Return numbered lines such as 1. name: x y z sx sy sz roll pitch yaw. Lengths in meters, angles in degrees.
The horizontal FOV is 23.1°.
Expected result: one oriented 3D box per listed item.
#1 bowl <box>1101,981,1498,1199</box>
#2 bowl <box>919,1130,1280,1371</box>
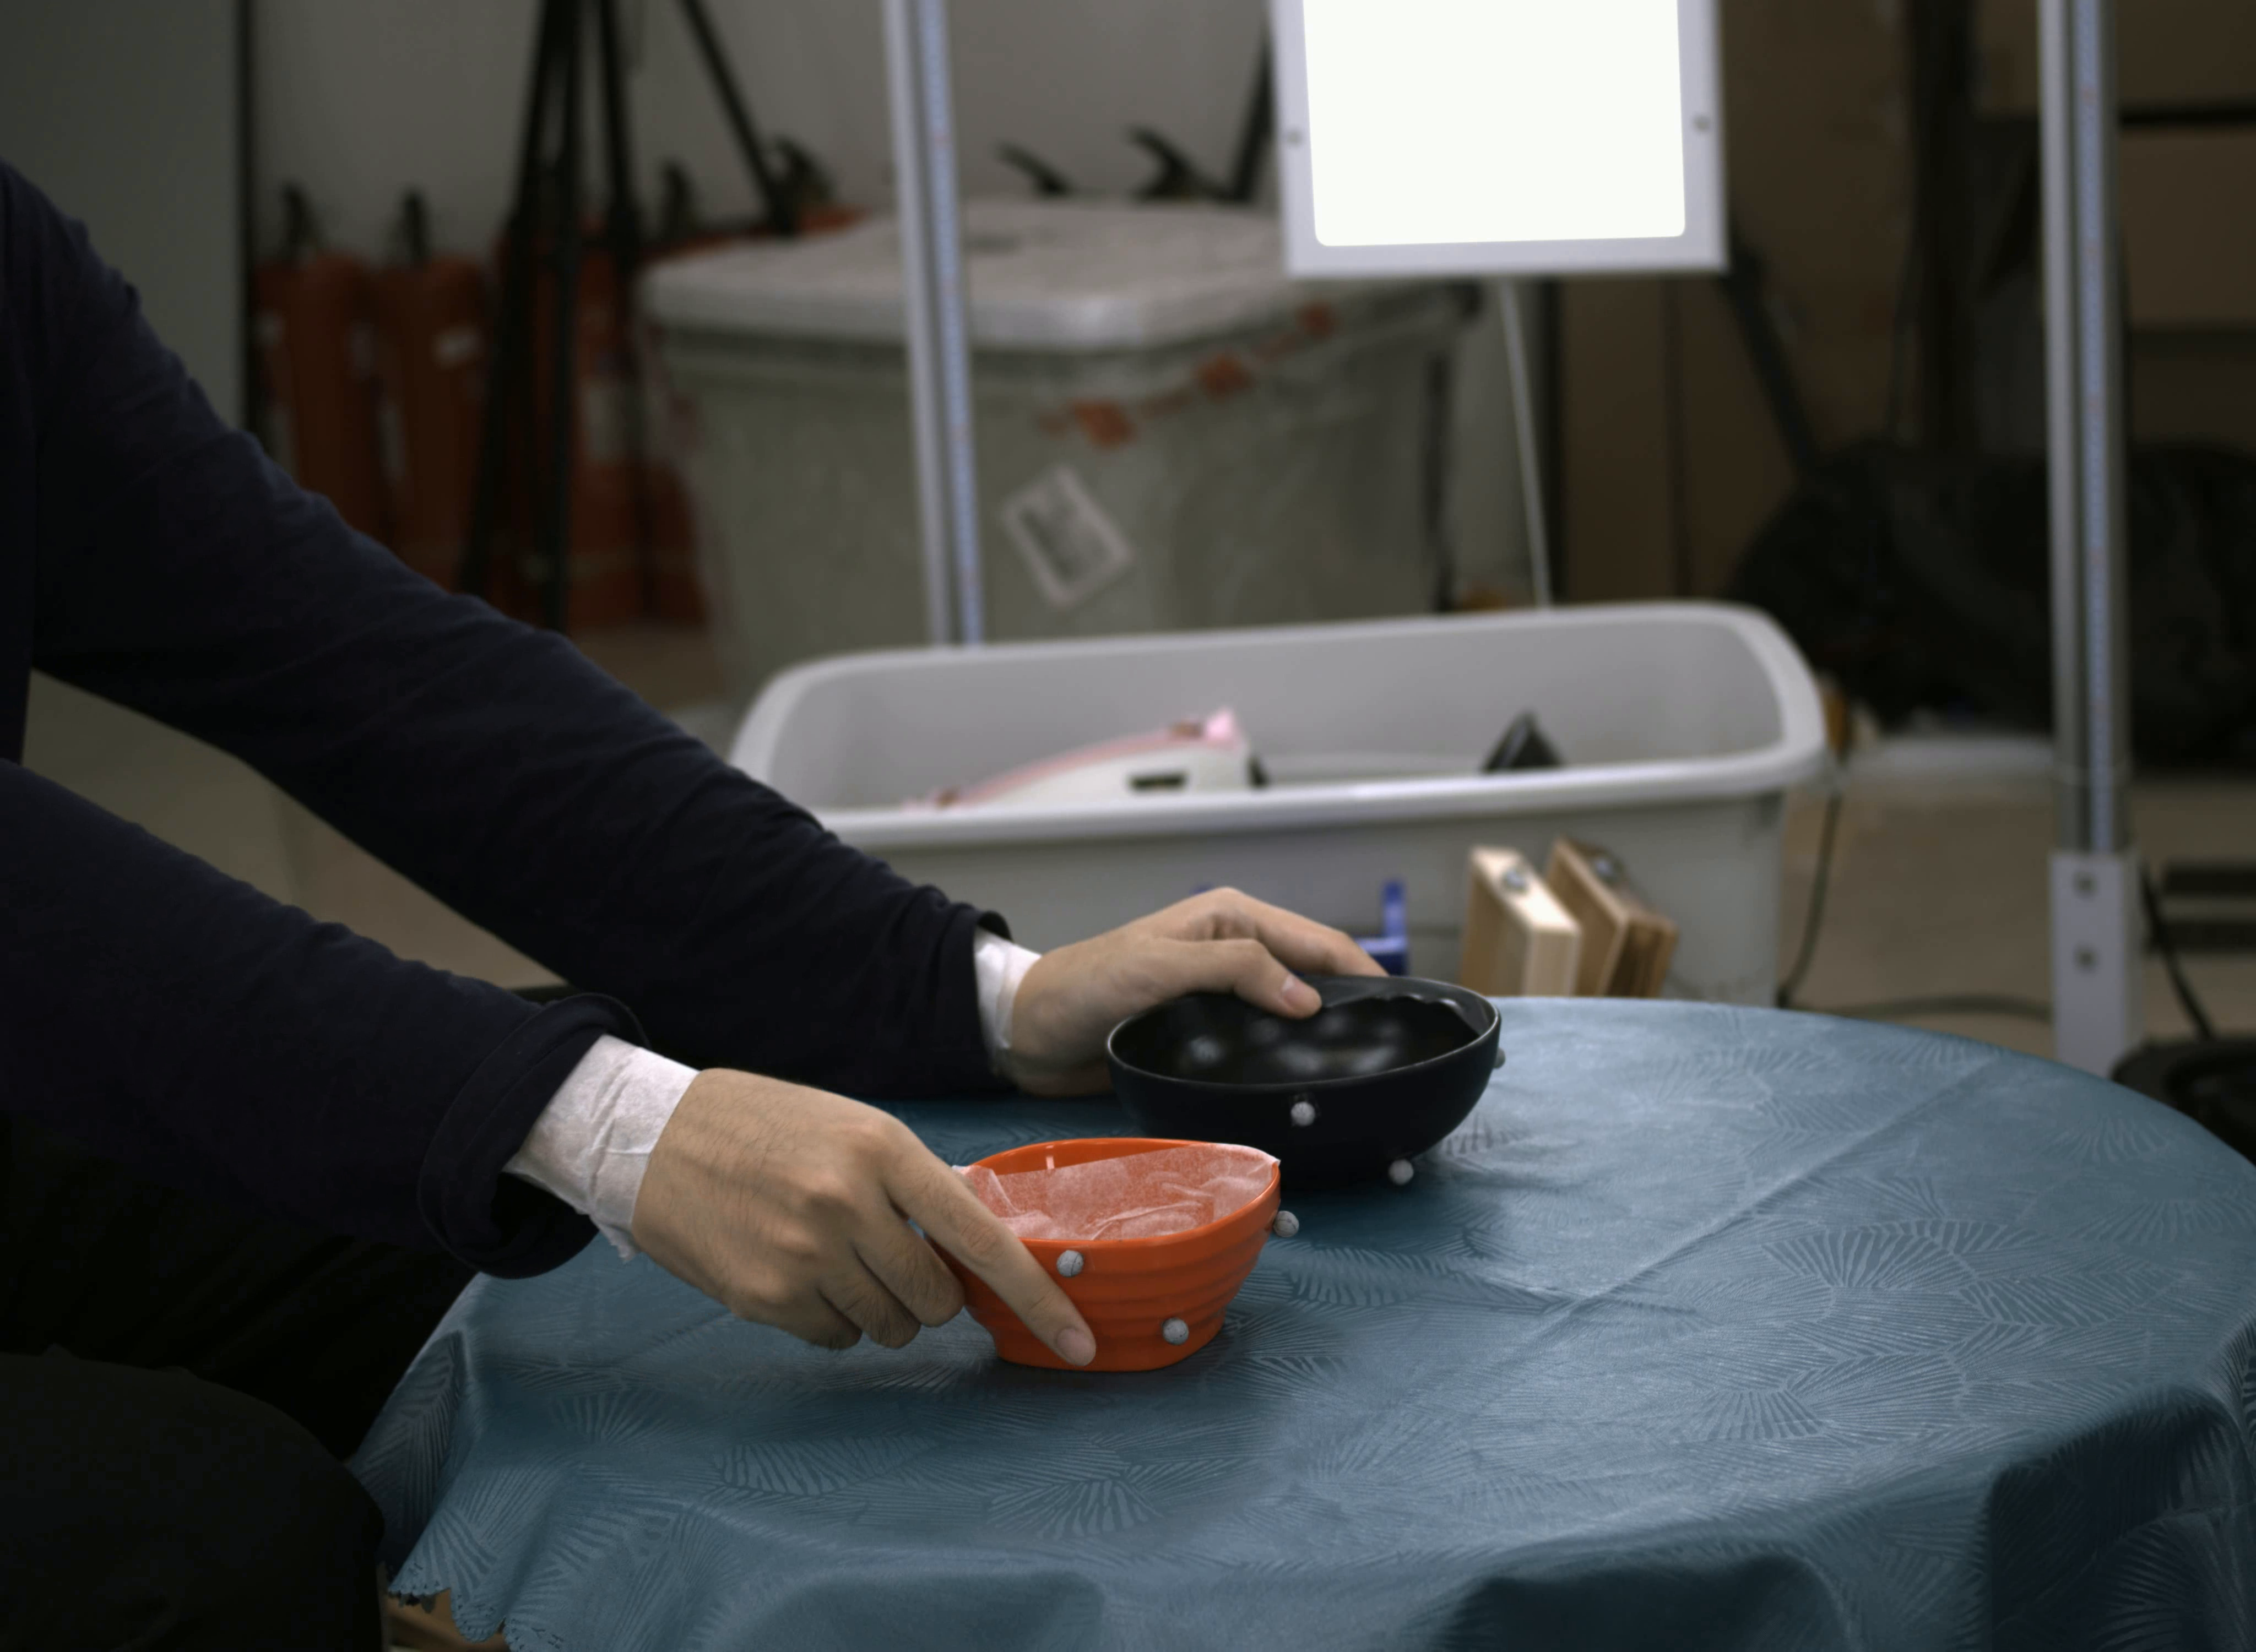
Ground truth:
1. bowl: 0.063 0.095 1.913 0.140 0.050 0.140 -9 12 0
2. bowl: -0.007 0.137 1.750 0.118 0.051 0.119 -4 15 0
